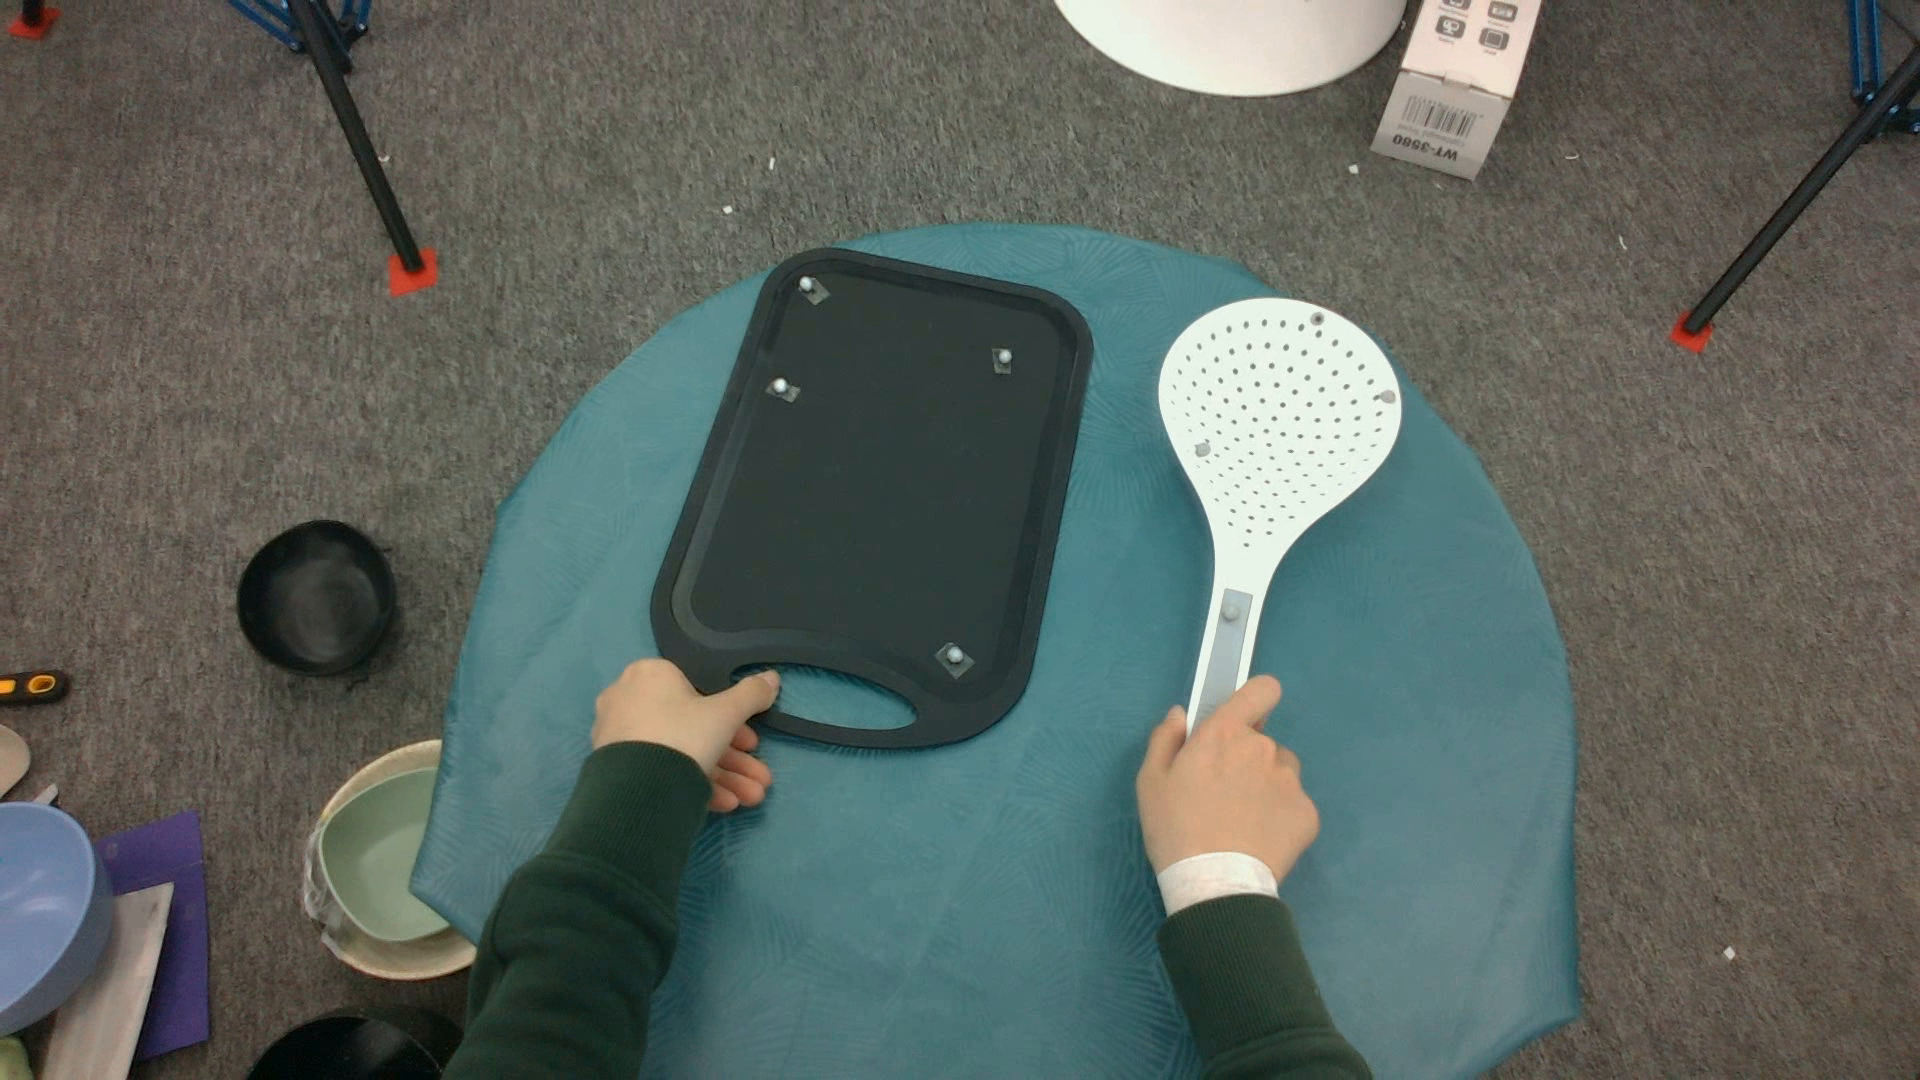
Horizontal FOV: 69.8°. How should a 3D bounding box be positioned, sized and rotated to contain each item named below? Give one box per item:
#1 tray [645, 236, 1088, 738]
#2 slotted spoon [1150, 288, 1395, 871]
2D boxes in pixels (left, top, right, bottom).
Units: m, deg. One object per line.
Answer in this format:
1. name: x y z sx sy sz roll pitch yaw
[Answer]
1. tray: -0.047 -0.041 0.788 0.211 0.010 0.327 12 61 2
2. slotted spoon: 0.153 0.009 0.750 0.136 0.045 0.351 13 60 9
